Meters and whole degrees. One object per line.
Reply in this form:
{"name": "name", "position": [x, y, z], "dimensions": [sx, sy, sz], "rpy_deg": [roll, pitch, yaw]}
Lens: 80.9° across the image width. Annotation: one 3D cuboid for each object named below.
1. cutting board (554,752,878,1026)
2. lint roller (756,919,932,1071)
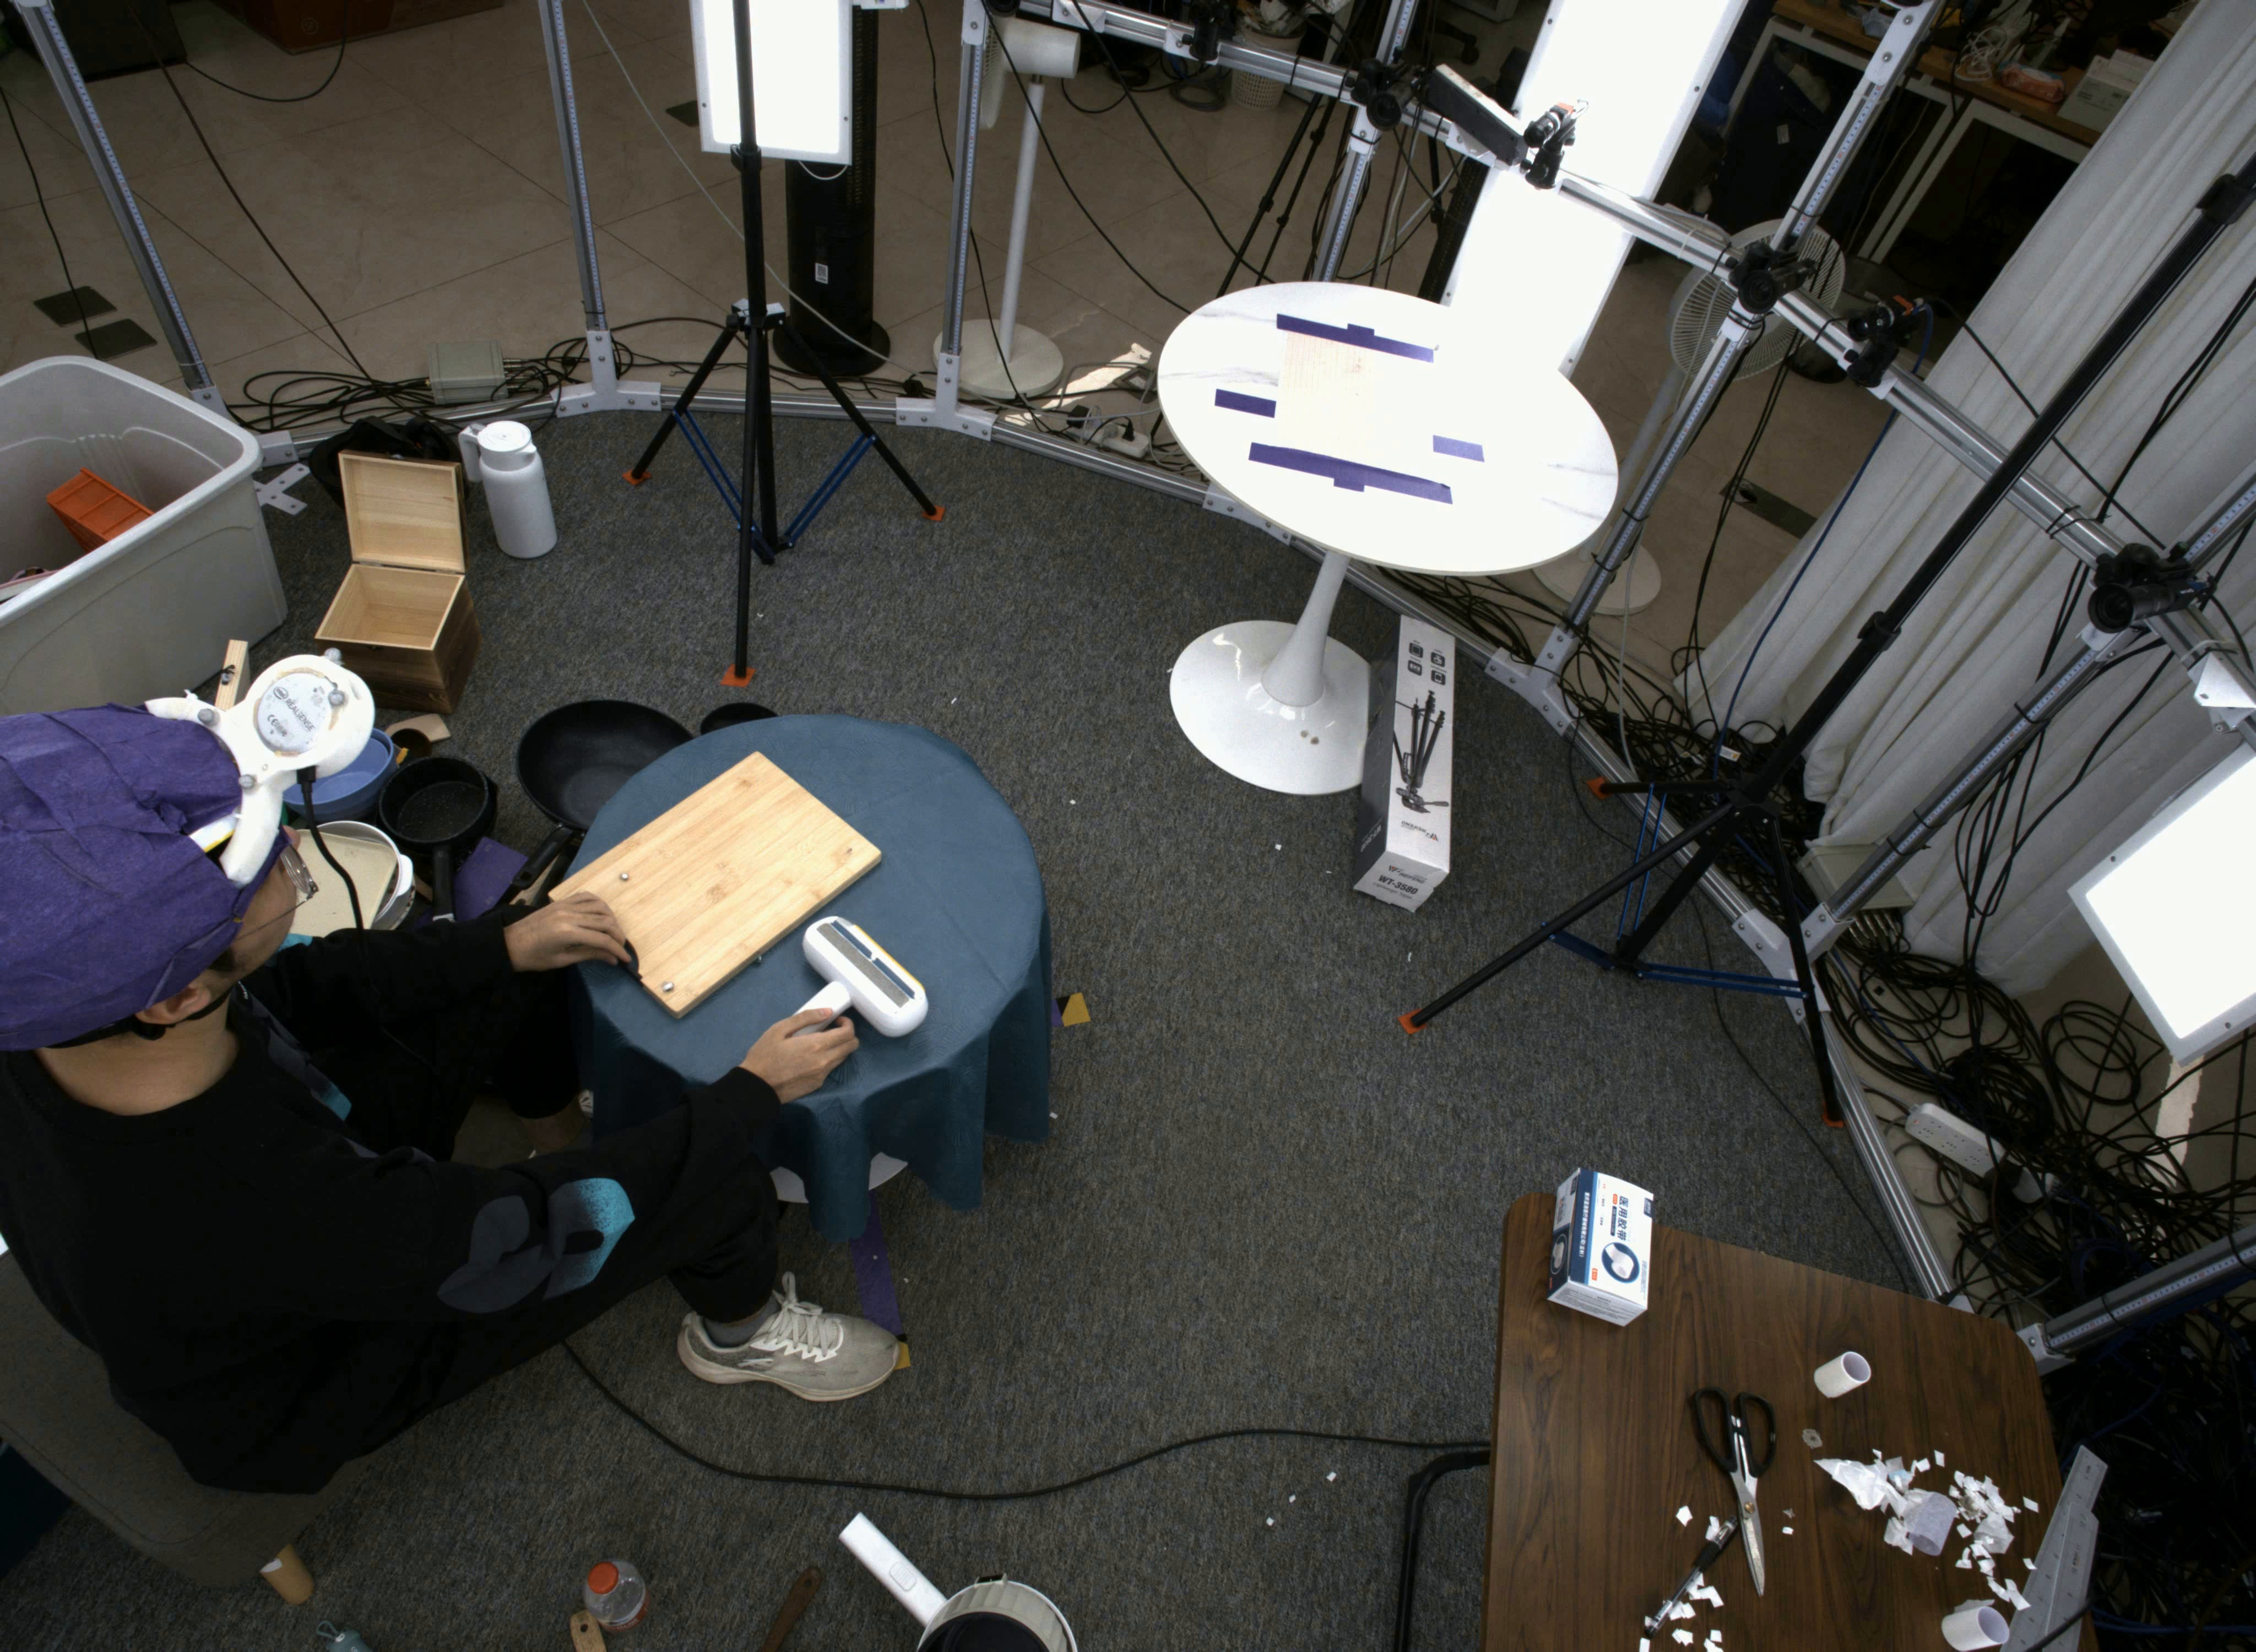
{"name": "cutting board", "position": [-0.524, 0.067, 1.644], "dimensions": [0.246, 0.024, 0.348], "rpy_deg": [37, 54, 13]}
{"name": "lint roller", "position": [-0.357, 0.215, 1.546], "dimensions": [0.193, 0.076, 0.187], "rpy_deg": [-32, 62, -30]}
